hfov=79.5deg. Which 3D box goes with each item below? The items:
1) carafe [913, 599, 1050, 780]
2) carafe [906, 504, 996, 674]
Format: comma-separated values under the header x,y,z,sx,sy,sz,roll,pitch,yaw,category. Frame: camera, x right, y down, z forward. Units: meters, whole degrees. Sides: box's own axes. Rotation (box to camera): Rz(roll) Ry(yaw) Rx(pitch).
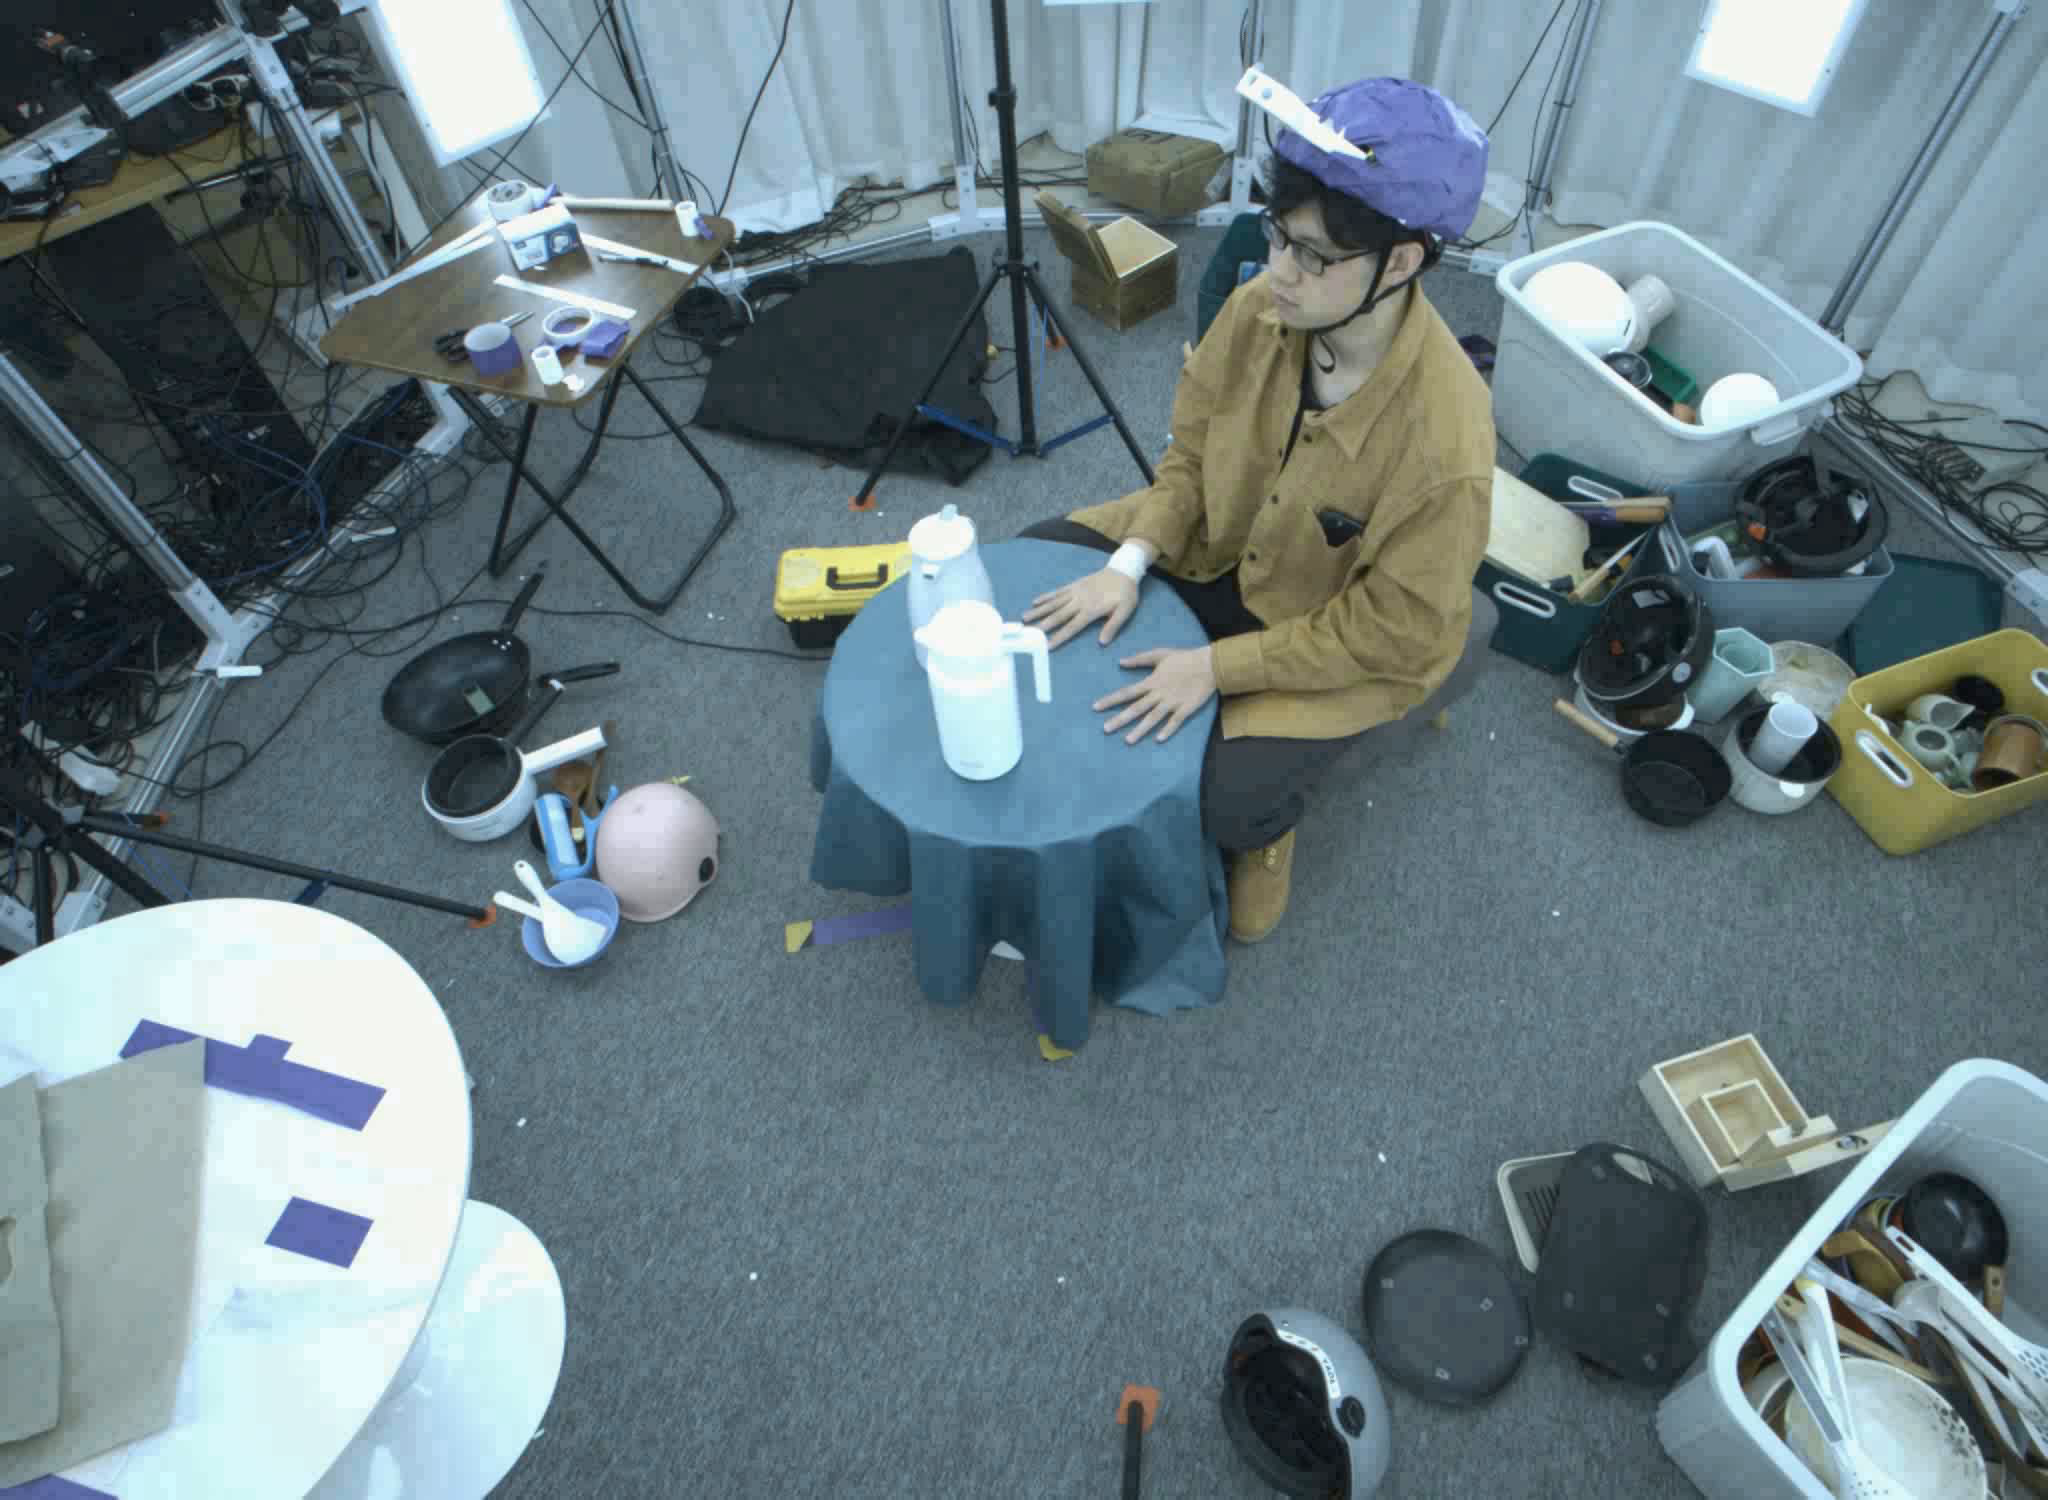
x,y,z,sx,sy,sz,roll,pitch,yaw,category
-0.051,-0.080,1.677,0.173,0.272,0.122,-3,52,1,carafe
-0.107,-0.246,1.808,0.131,0.251,0.167,11,55,11,carafe
